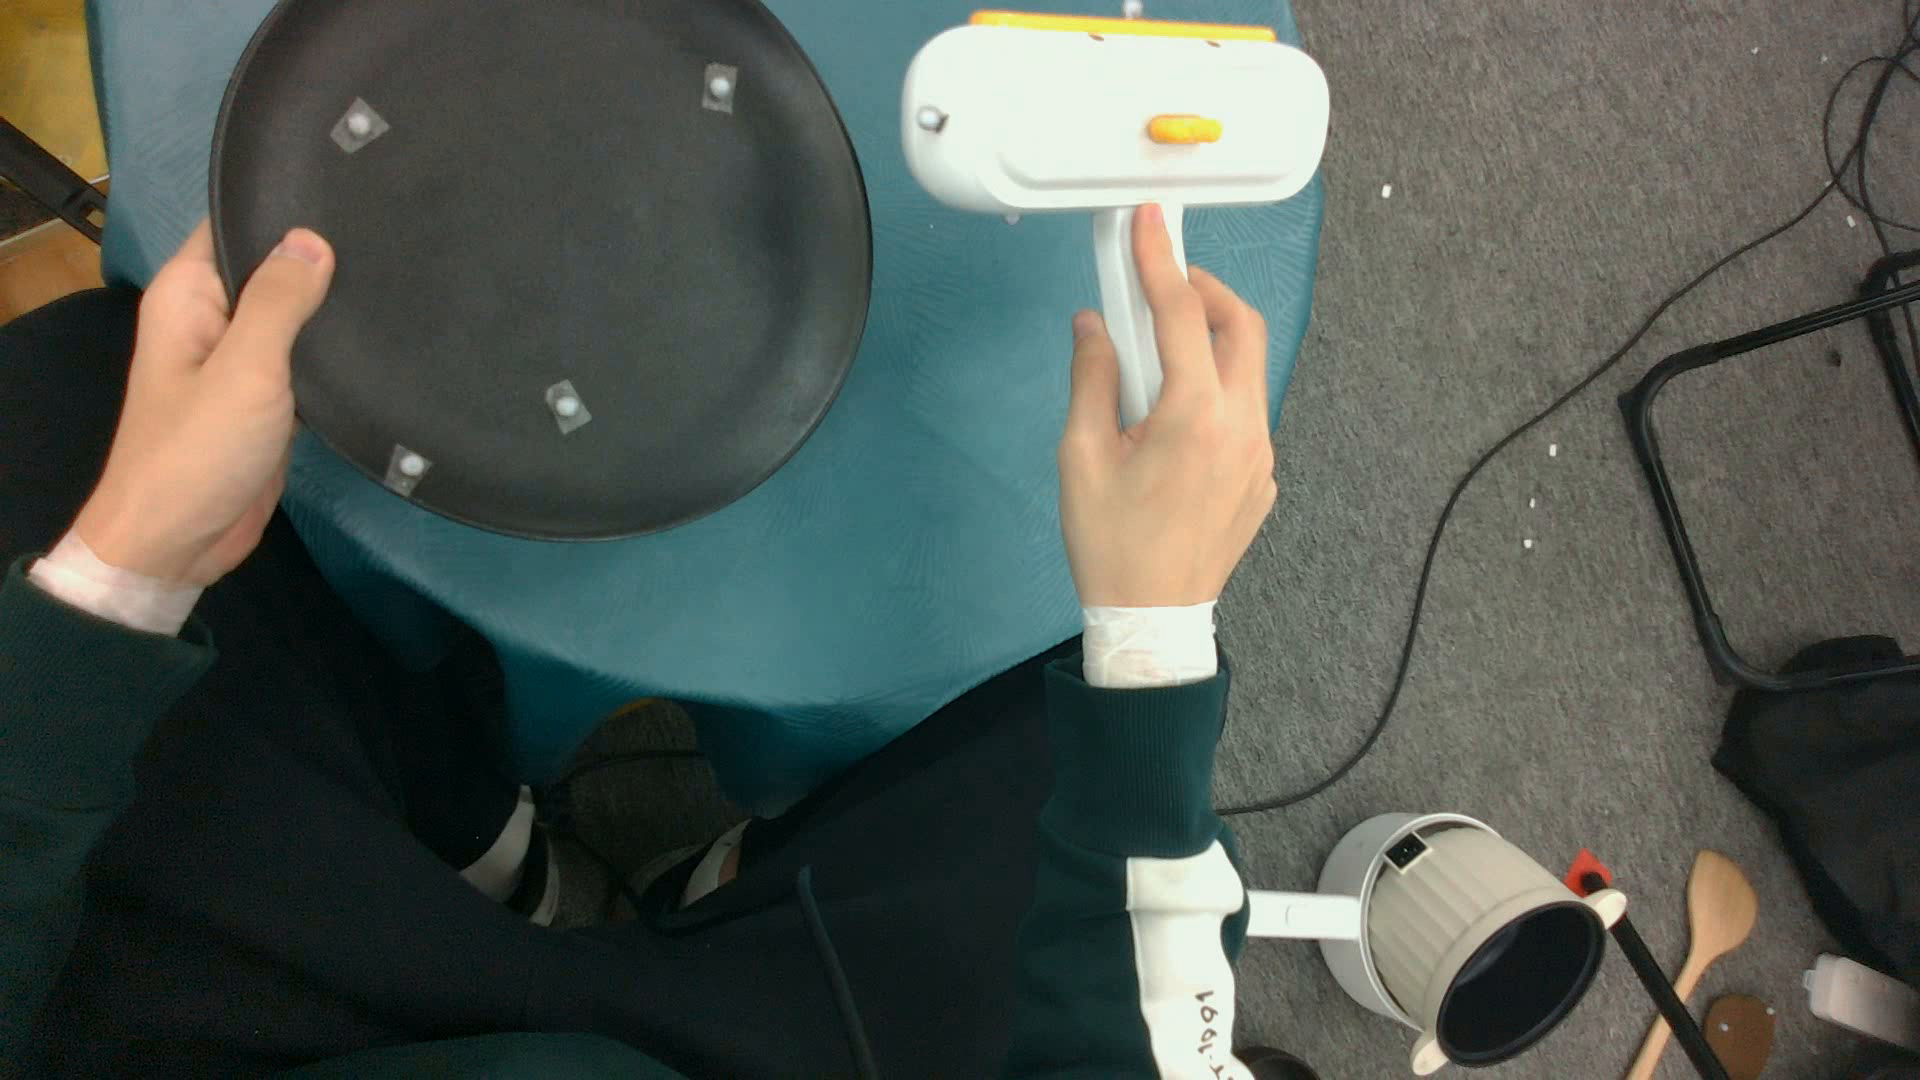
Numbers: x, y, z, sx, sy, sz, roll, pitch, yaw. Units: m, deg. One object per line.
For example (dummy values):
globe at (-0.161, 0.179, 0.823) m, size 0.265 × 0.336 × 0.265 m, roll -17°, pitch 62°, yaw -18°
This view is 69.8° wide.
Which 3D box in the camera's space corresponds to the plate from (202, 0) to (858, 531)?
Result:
plate at (-0.157, -0.125, 0.537) m, size 0.245 × 0.023 × 0.244 m, roll 0°, pitch 90°, yaw -26°

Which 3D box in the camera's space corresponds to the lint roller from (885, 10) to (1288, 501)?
lint roller at (0.065, -0.111, 0.552) m, size 0.193 × 0.074 × 0.192 m, roll -20°, pitch 112°, yaw -41°
